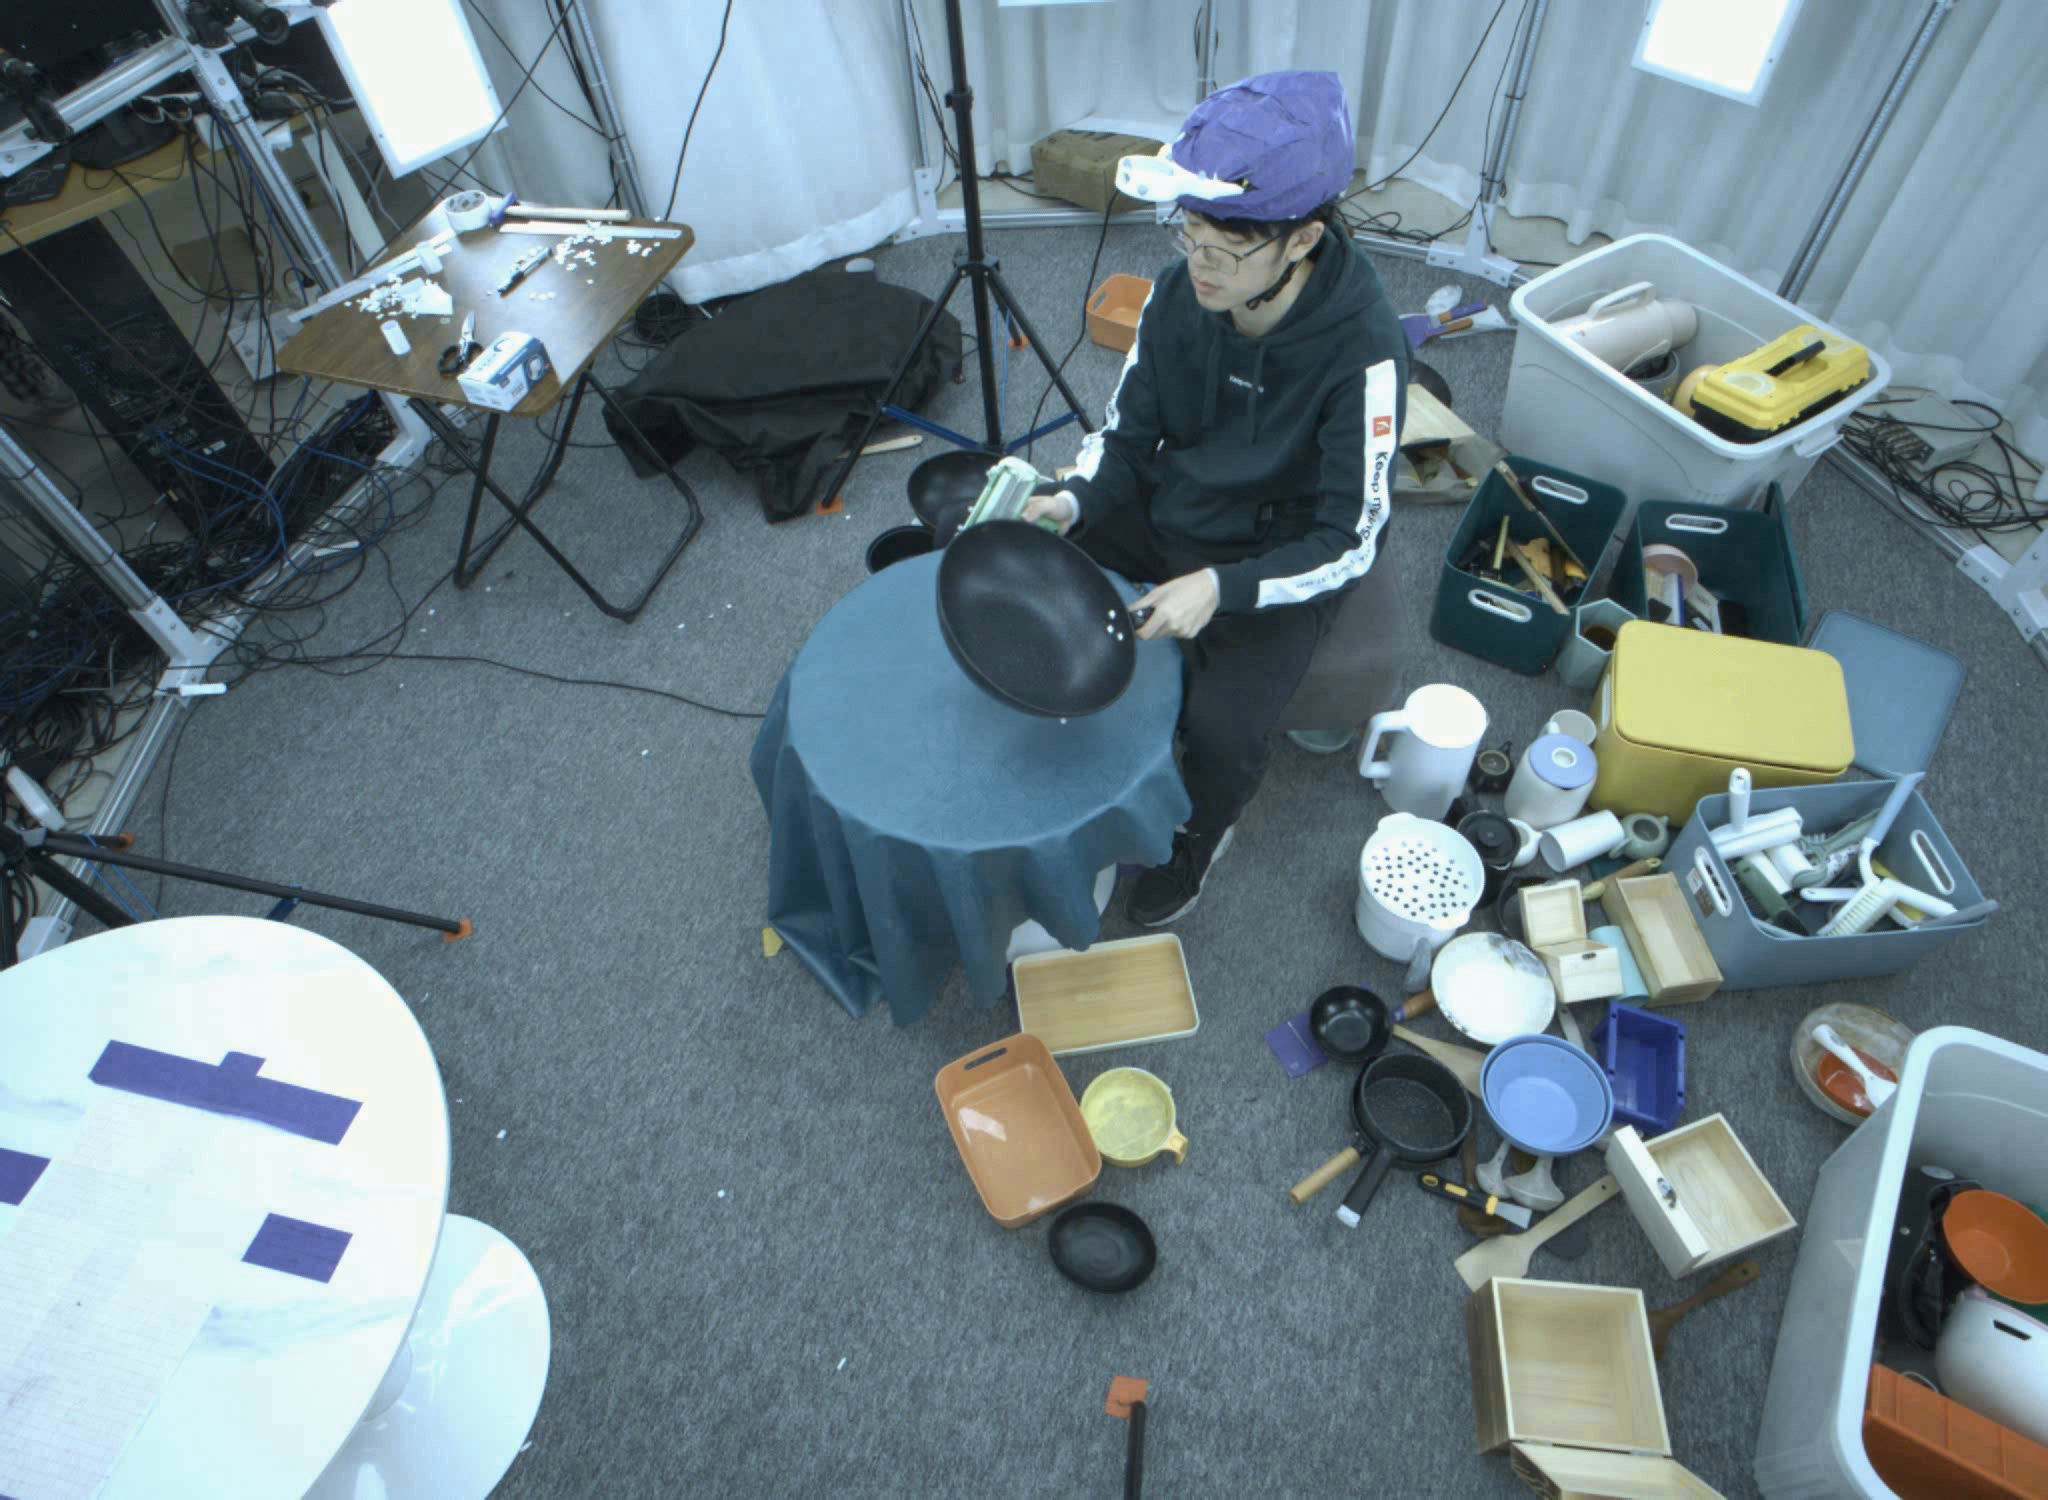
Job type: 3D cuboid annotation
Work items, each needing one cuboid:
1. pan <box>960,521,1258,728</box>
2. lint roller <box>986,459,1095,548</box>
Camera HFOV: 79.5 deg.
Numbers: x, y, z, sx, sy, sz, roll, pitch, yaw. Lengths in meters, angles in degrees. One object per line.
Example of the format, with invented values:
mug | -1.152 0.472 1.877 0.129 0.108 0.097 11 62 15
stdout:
pan | 0.114 -0.163 1.700 0.486 0.110 0.307 -2 69 -34
lint roller | 0.026 -0.330 1.761 0.081 0.198 0.186 45 33 19
